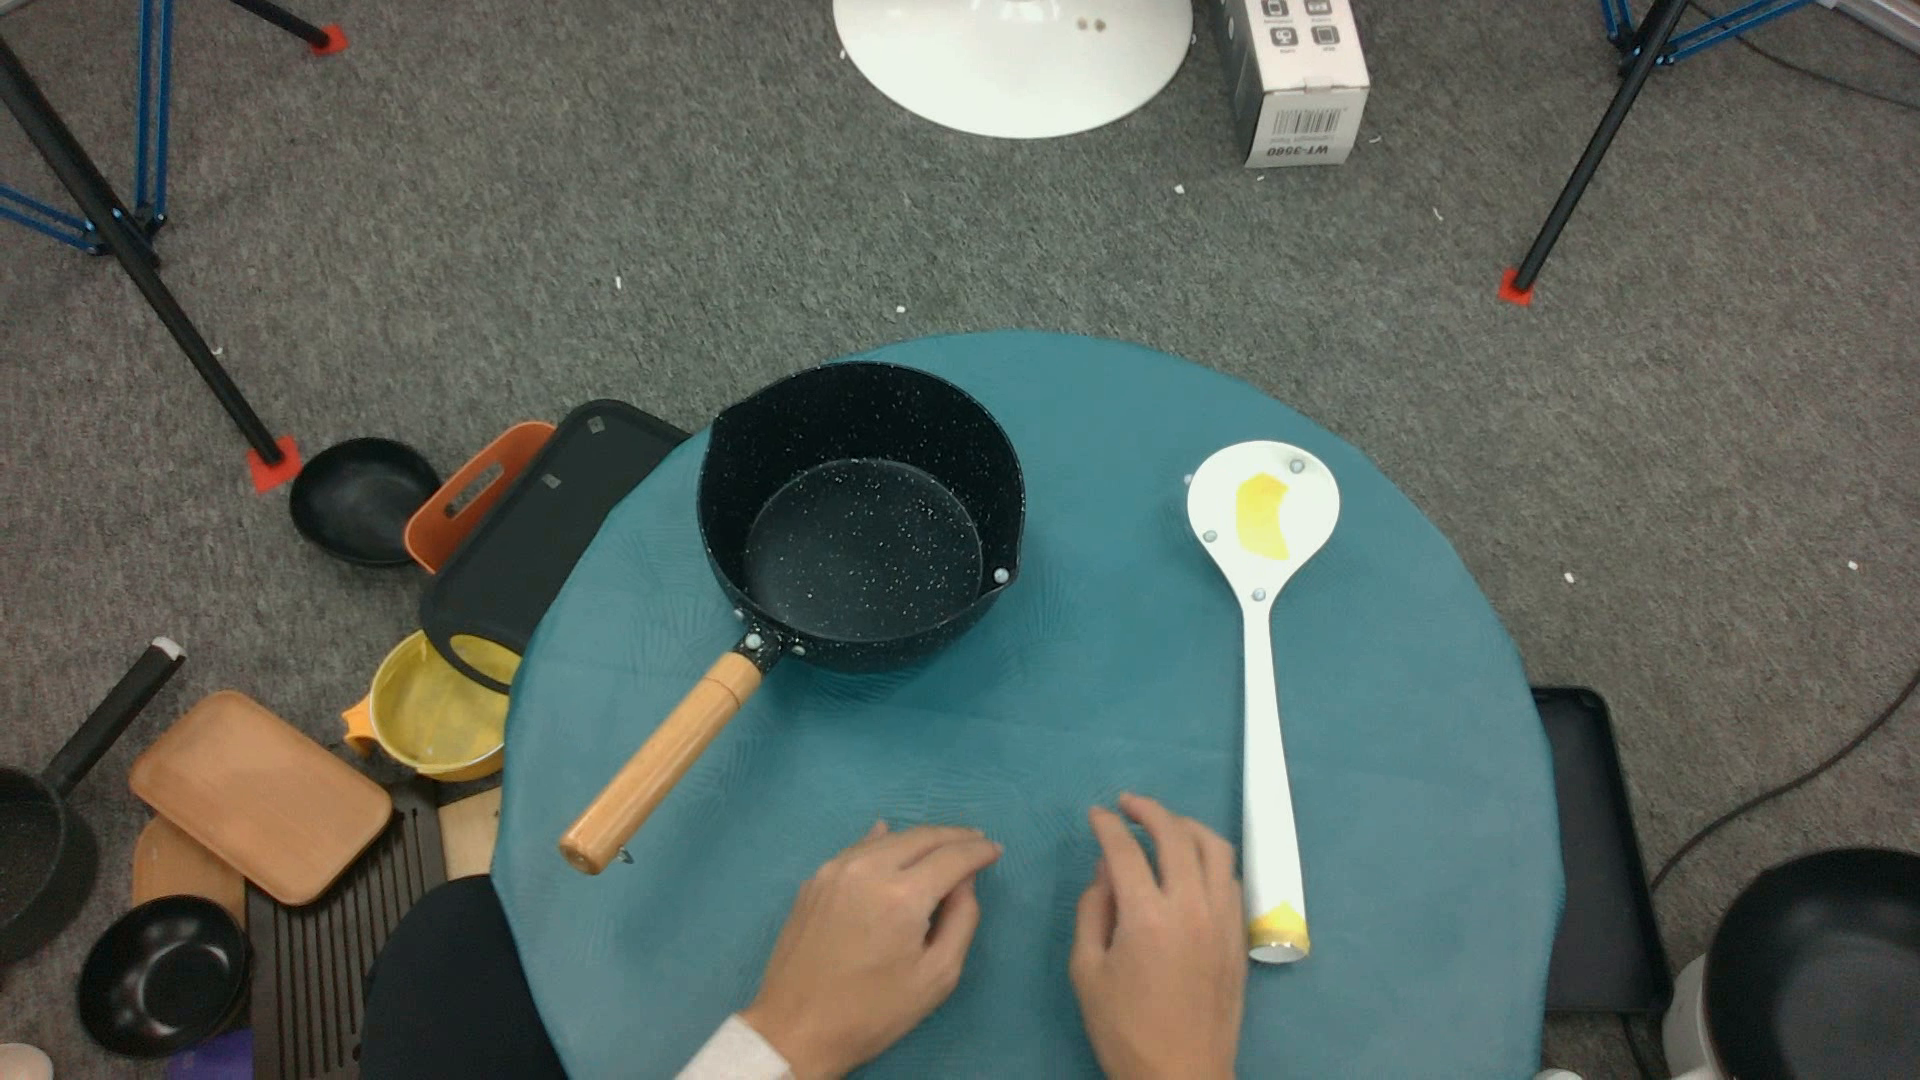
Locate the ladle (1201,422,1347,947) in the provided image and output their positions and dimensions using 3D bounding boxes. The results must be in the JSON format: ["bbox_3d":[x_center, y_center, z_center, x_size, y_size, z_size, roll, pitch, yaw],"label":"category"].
[{"bbox_3d":[0.178,0.075,0.781,0.090,0.069,0.294,8,62,-4],"label":"ladle"}]

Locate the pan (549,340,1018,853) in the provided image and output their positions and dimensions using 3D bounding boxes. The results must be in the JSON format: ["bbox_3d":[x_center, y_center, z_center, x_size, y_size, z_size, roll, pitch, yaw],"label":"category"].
[{"bbox_3d":[-0.100,0.038,0.757,0.207,0.108,0.344,28,62,10],"label":"pan"}]
